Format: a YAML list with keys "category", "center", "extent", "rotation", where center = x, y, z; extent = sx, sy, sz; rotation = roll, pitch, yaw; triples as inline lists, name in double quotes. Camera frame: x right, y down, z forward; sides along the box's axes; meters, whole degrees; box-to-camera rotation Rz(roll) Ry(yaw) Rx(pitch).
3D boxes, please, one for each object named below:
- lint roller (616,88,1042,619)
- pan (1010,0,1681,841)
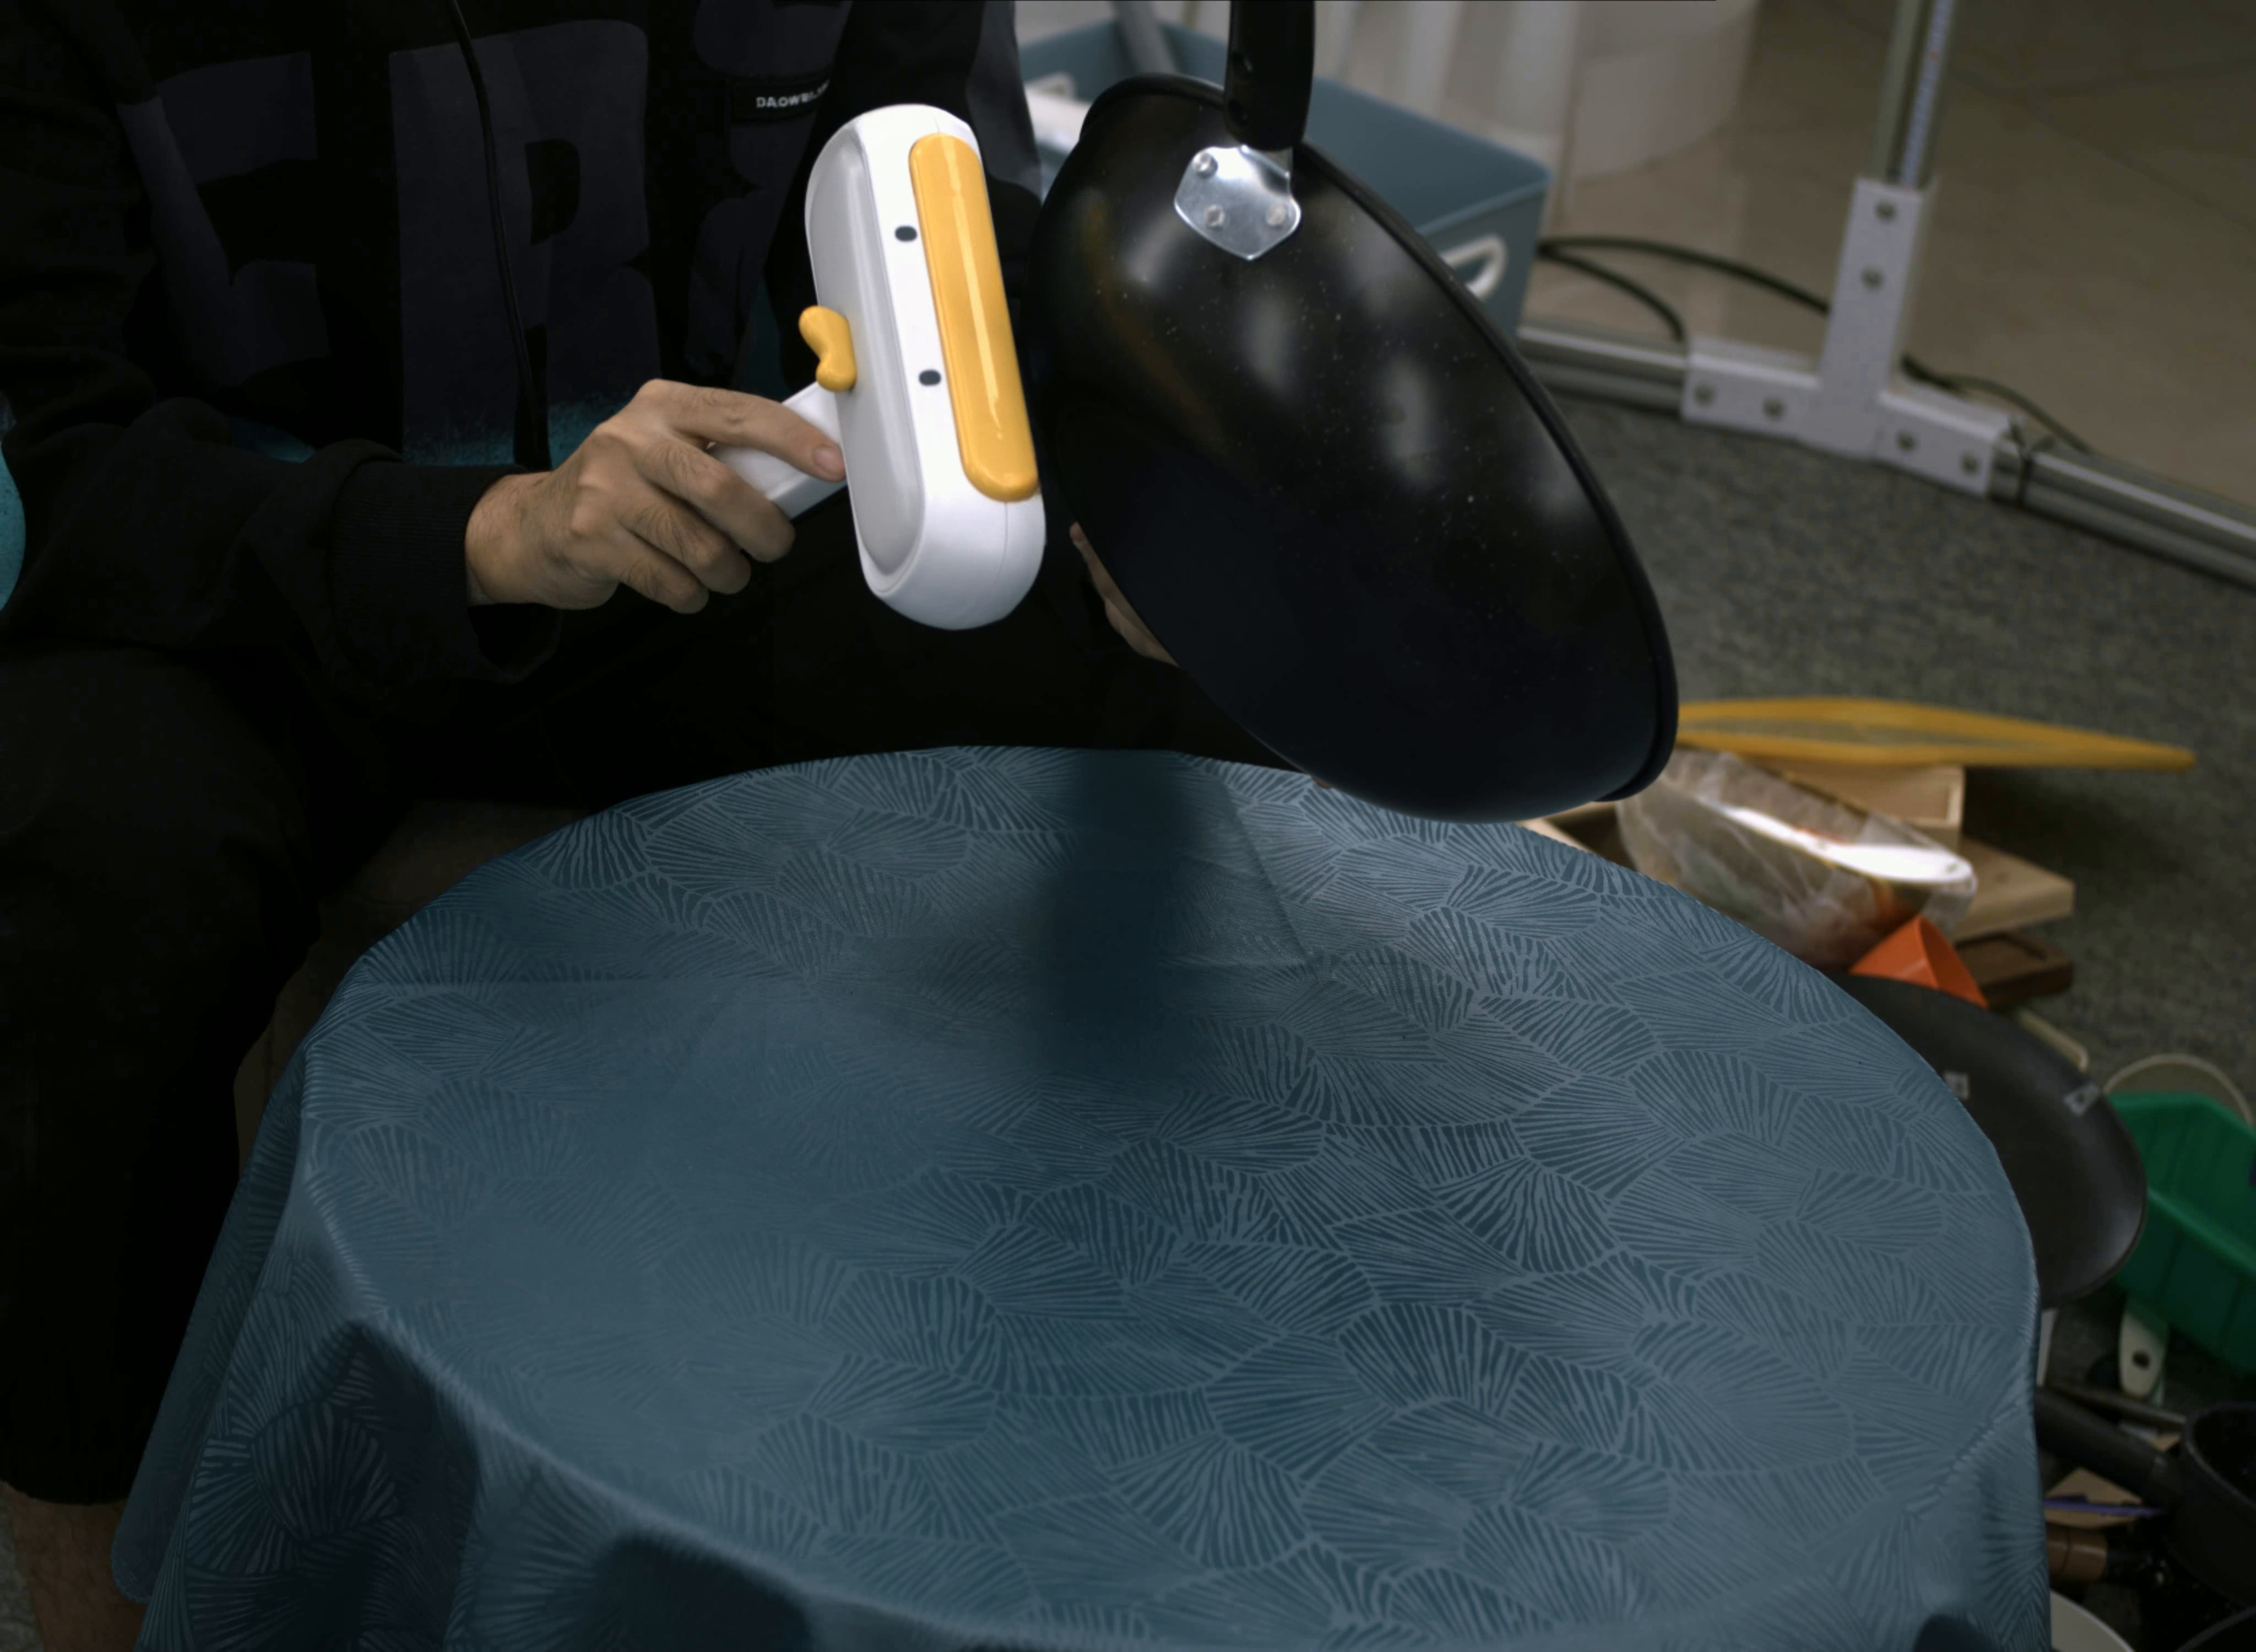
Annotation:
- category: "lint roller"
  center: [-0.110, -0.136, 1.862]
  extent: [0.073, 0.192, 0.194]
  rotation: [4, 57, -37]
- category: "pan"
  center: [0.046, -0.165, 1.798]
  extent: [0.111, 0.473, 0.313]
  rotation: [-38, 51, -18]
